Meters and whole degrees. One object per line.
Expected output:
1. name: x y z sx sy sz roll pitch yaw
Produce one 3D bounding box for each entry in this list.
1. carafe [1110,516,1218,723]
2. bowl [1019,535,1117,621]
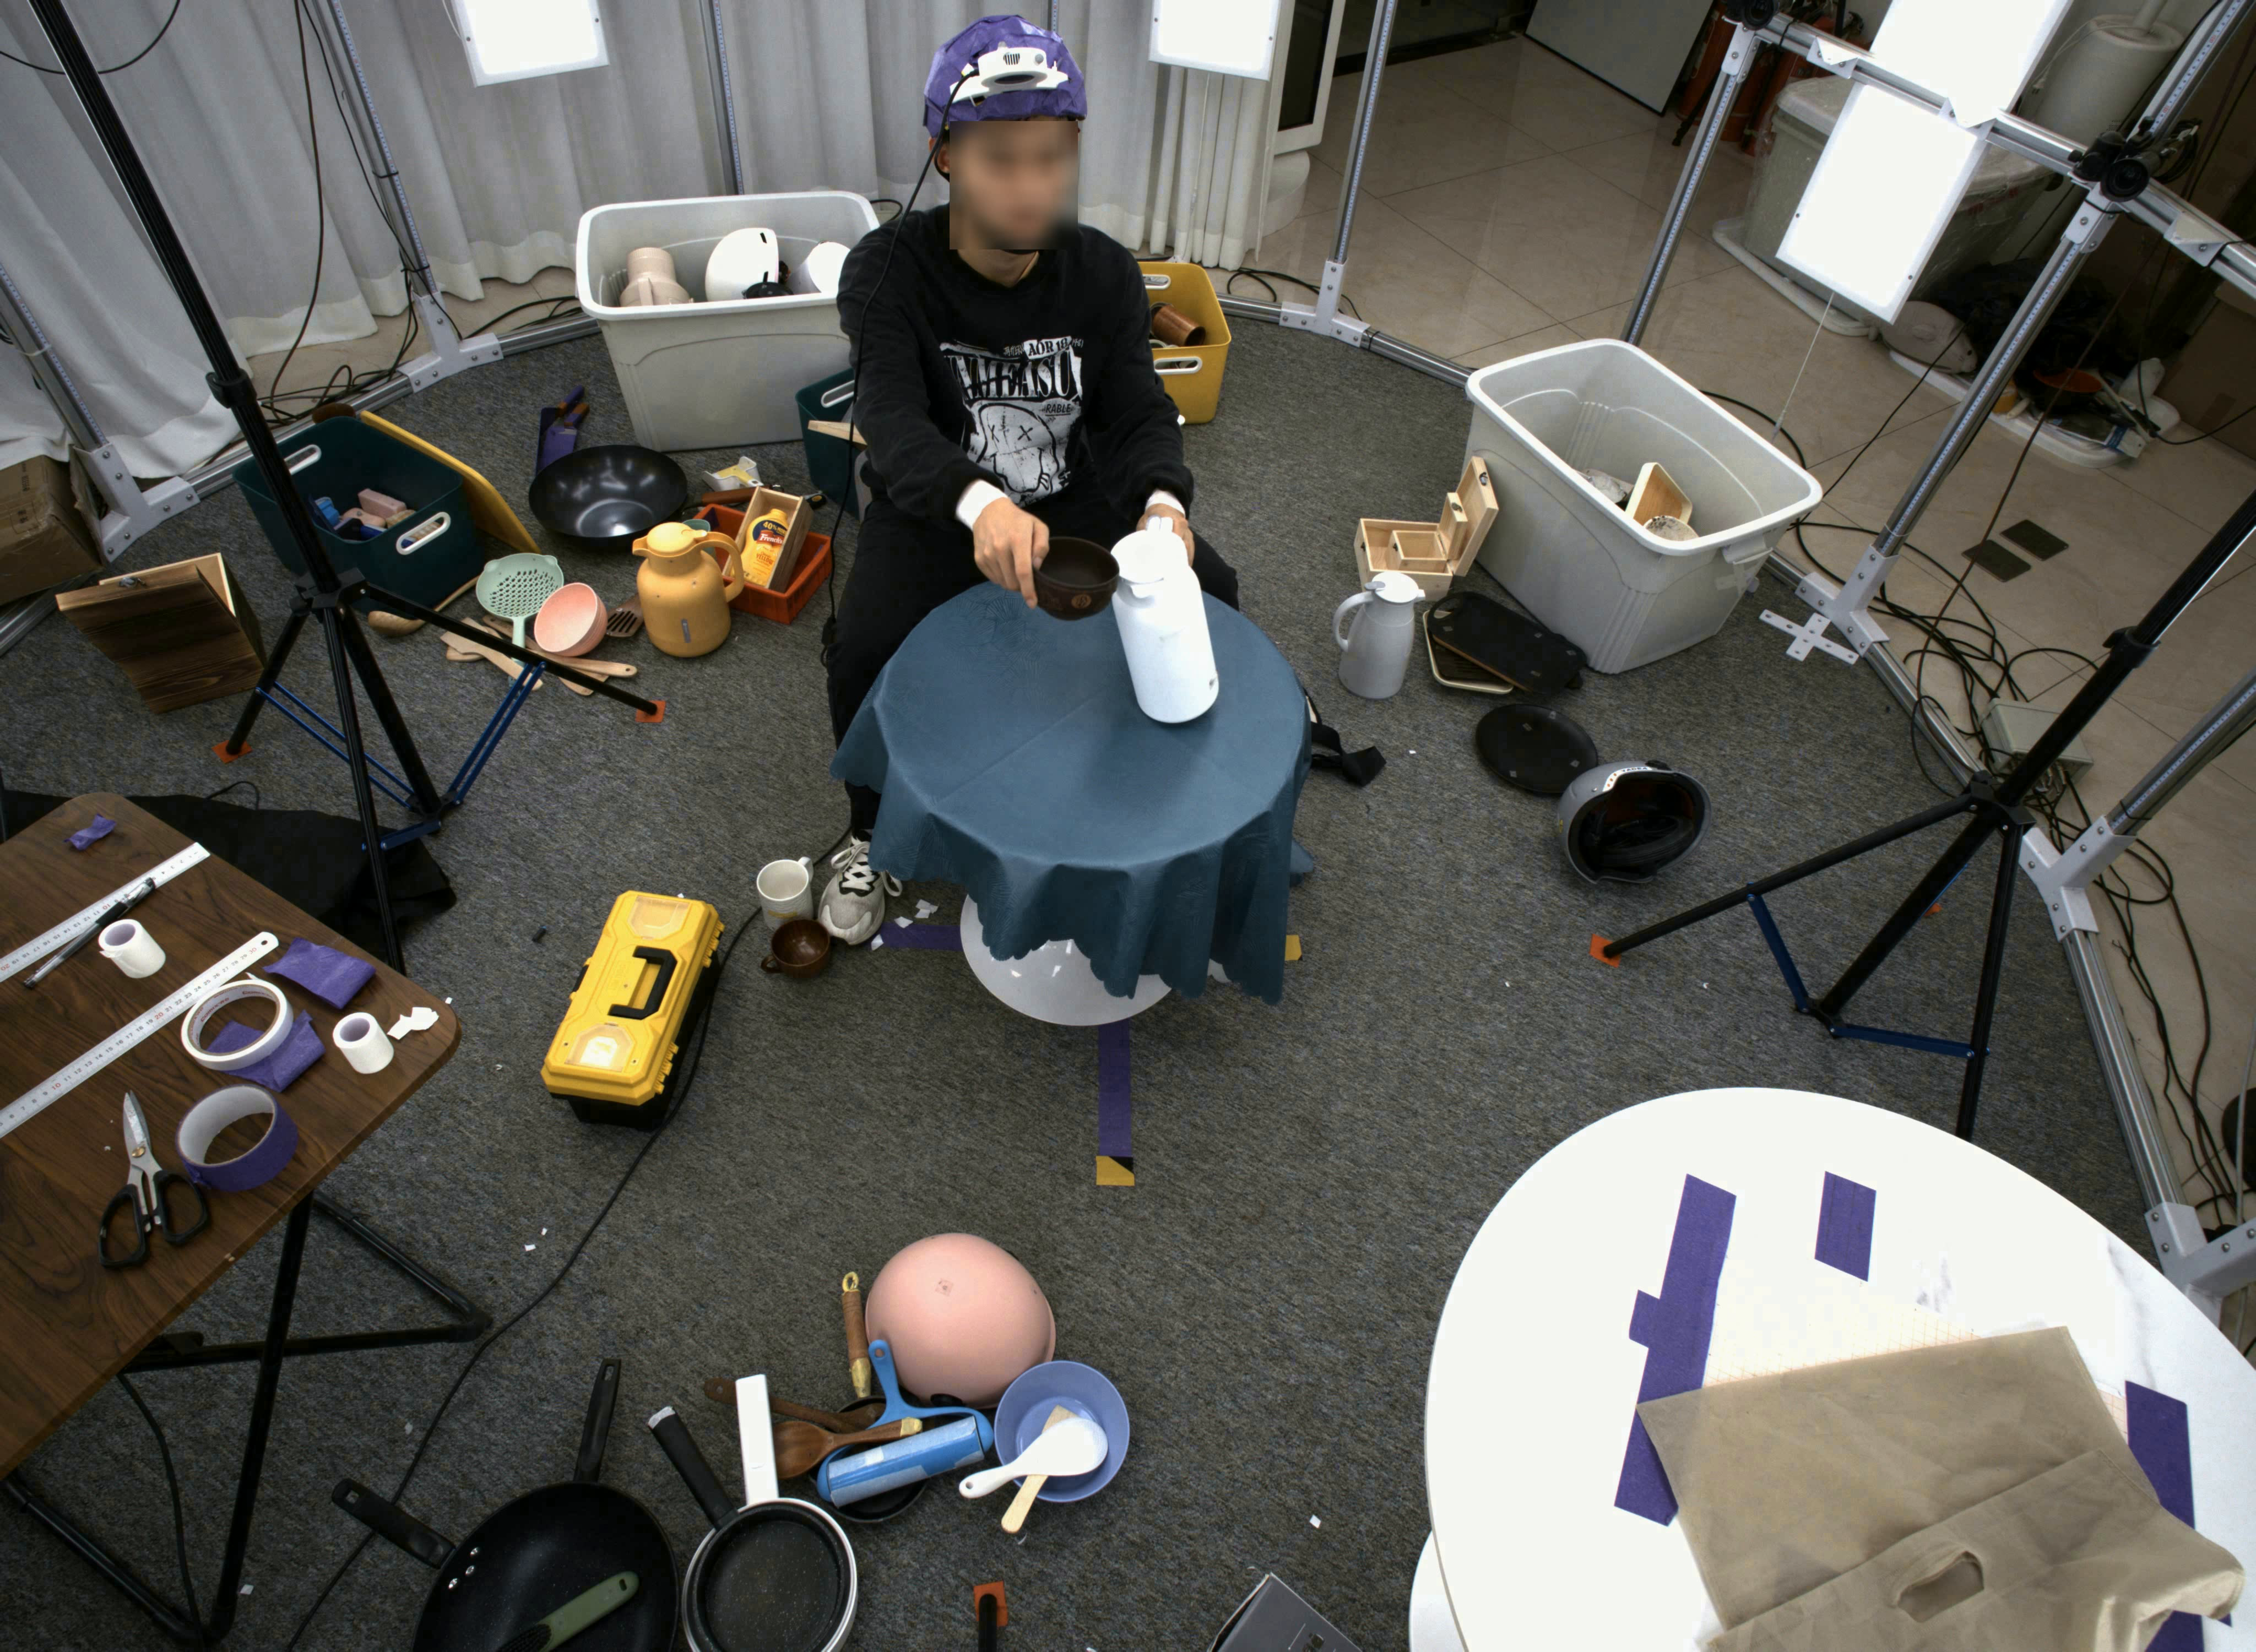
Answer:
1. carafe: 0.049 -0.279 1.732 0.124 0.262 0.177 -2 52 15
2. bowl: -0.076 -0.296 1.579 0.118 0.068 0.121 8 42 -7
